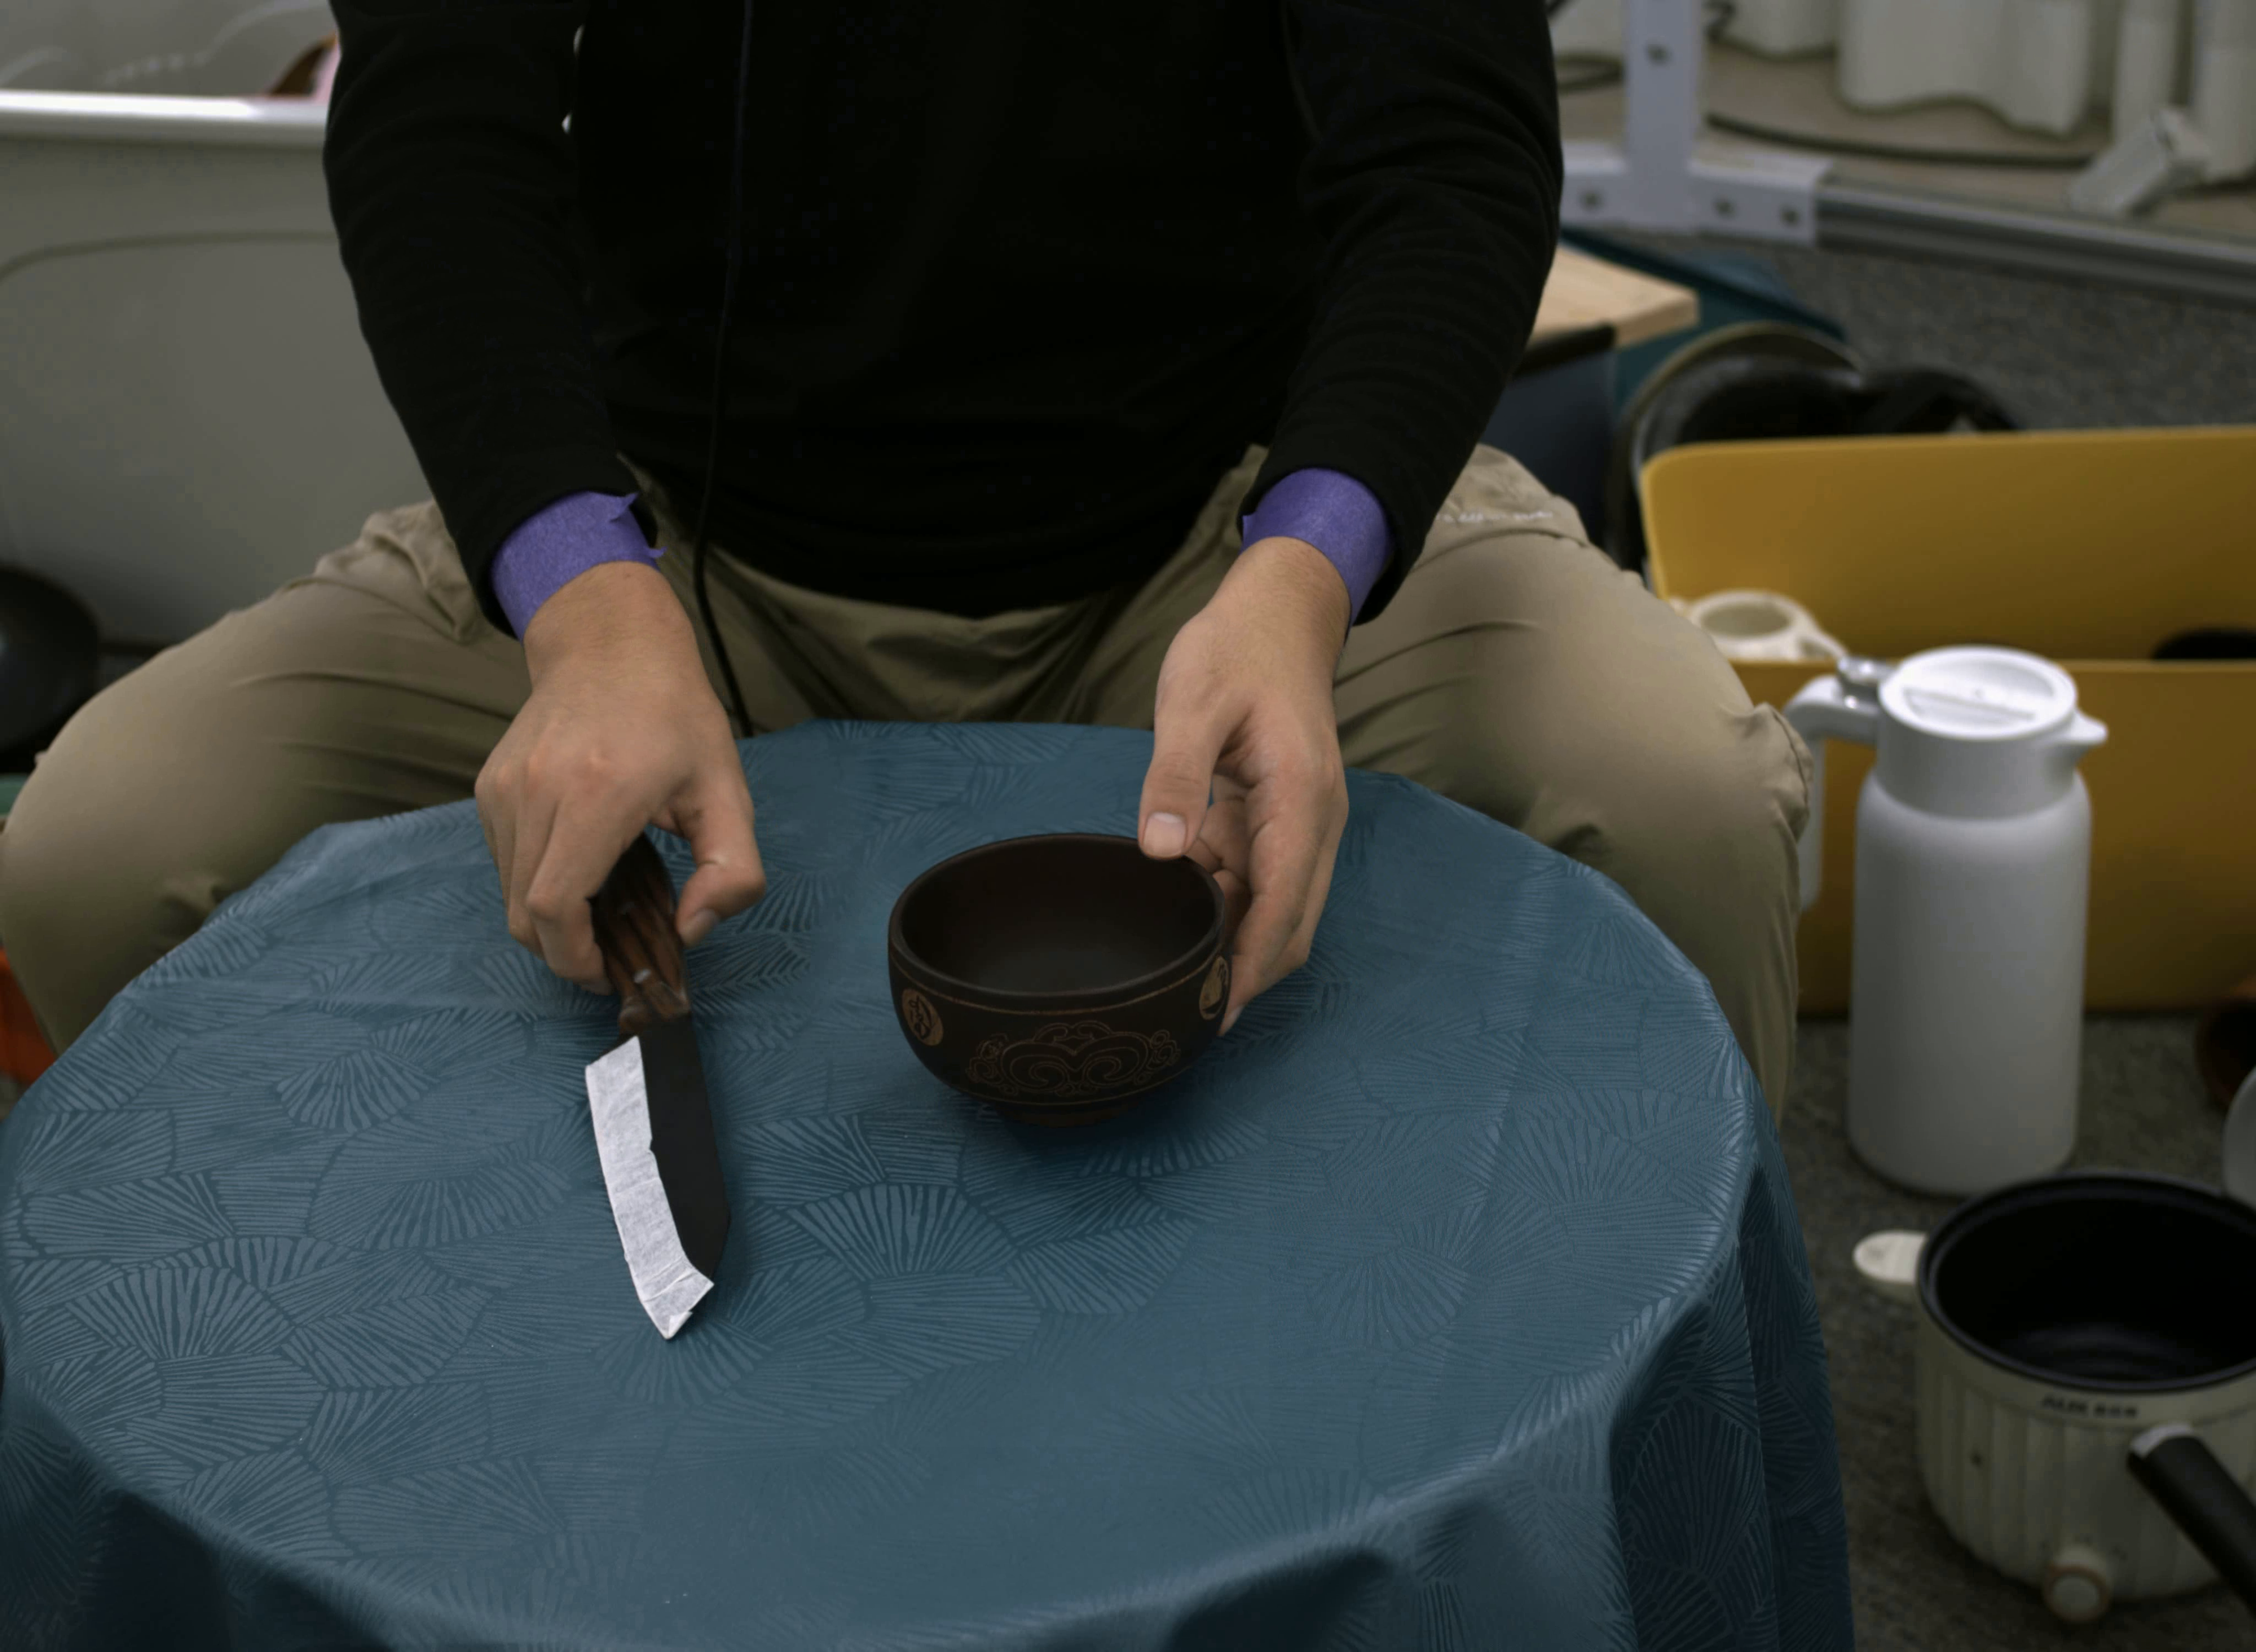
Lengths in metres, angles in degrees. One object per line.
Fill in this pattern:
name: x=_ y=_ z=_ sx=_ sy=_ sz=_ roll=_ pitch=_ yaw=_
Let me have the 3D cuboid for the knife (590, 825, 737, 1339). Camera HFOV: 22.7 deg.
knife: x=-0.161 y=0.084 z=1.909 sx=0.050 sy=0.020 sz=0.293 roll=-30 pitch=32 yaw=10

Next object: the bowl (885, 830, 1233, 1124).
bowl: x=-0.023 y=0.058 z=1.907 sx=0.117 sy=0.069 sz=0.120 roll=-2 pitch=26 yaw=1
